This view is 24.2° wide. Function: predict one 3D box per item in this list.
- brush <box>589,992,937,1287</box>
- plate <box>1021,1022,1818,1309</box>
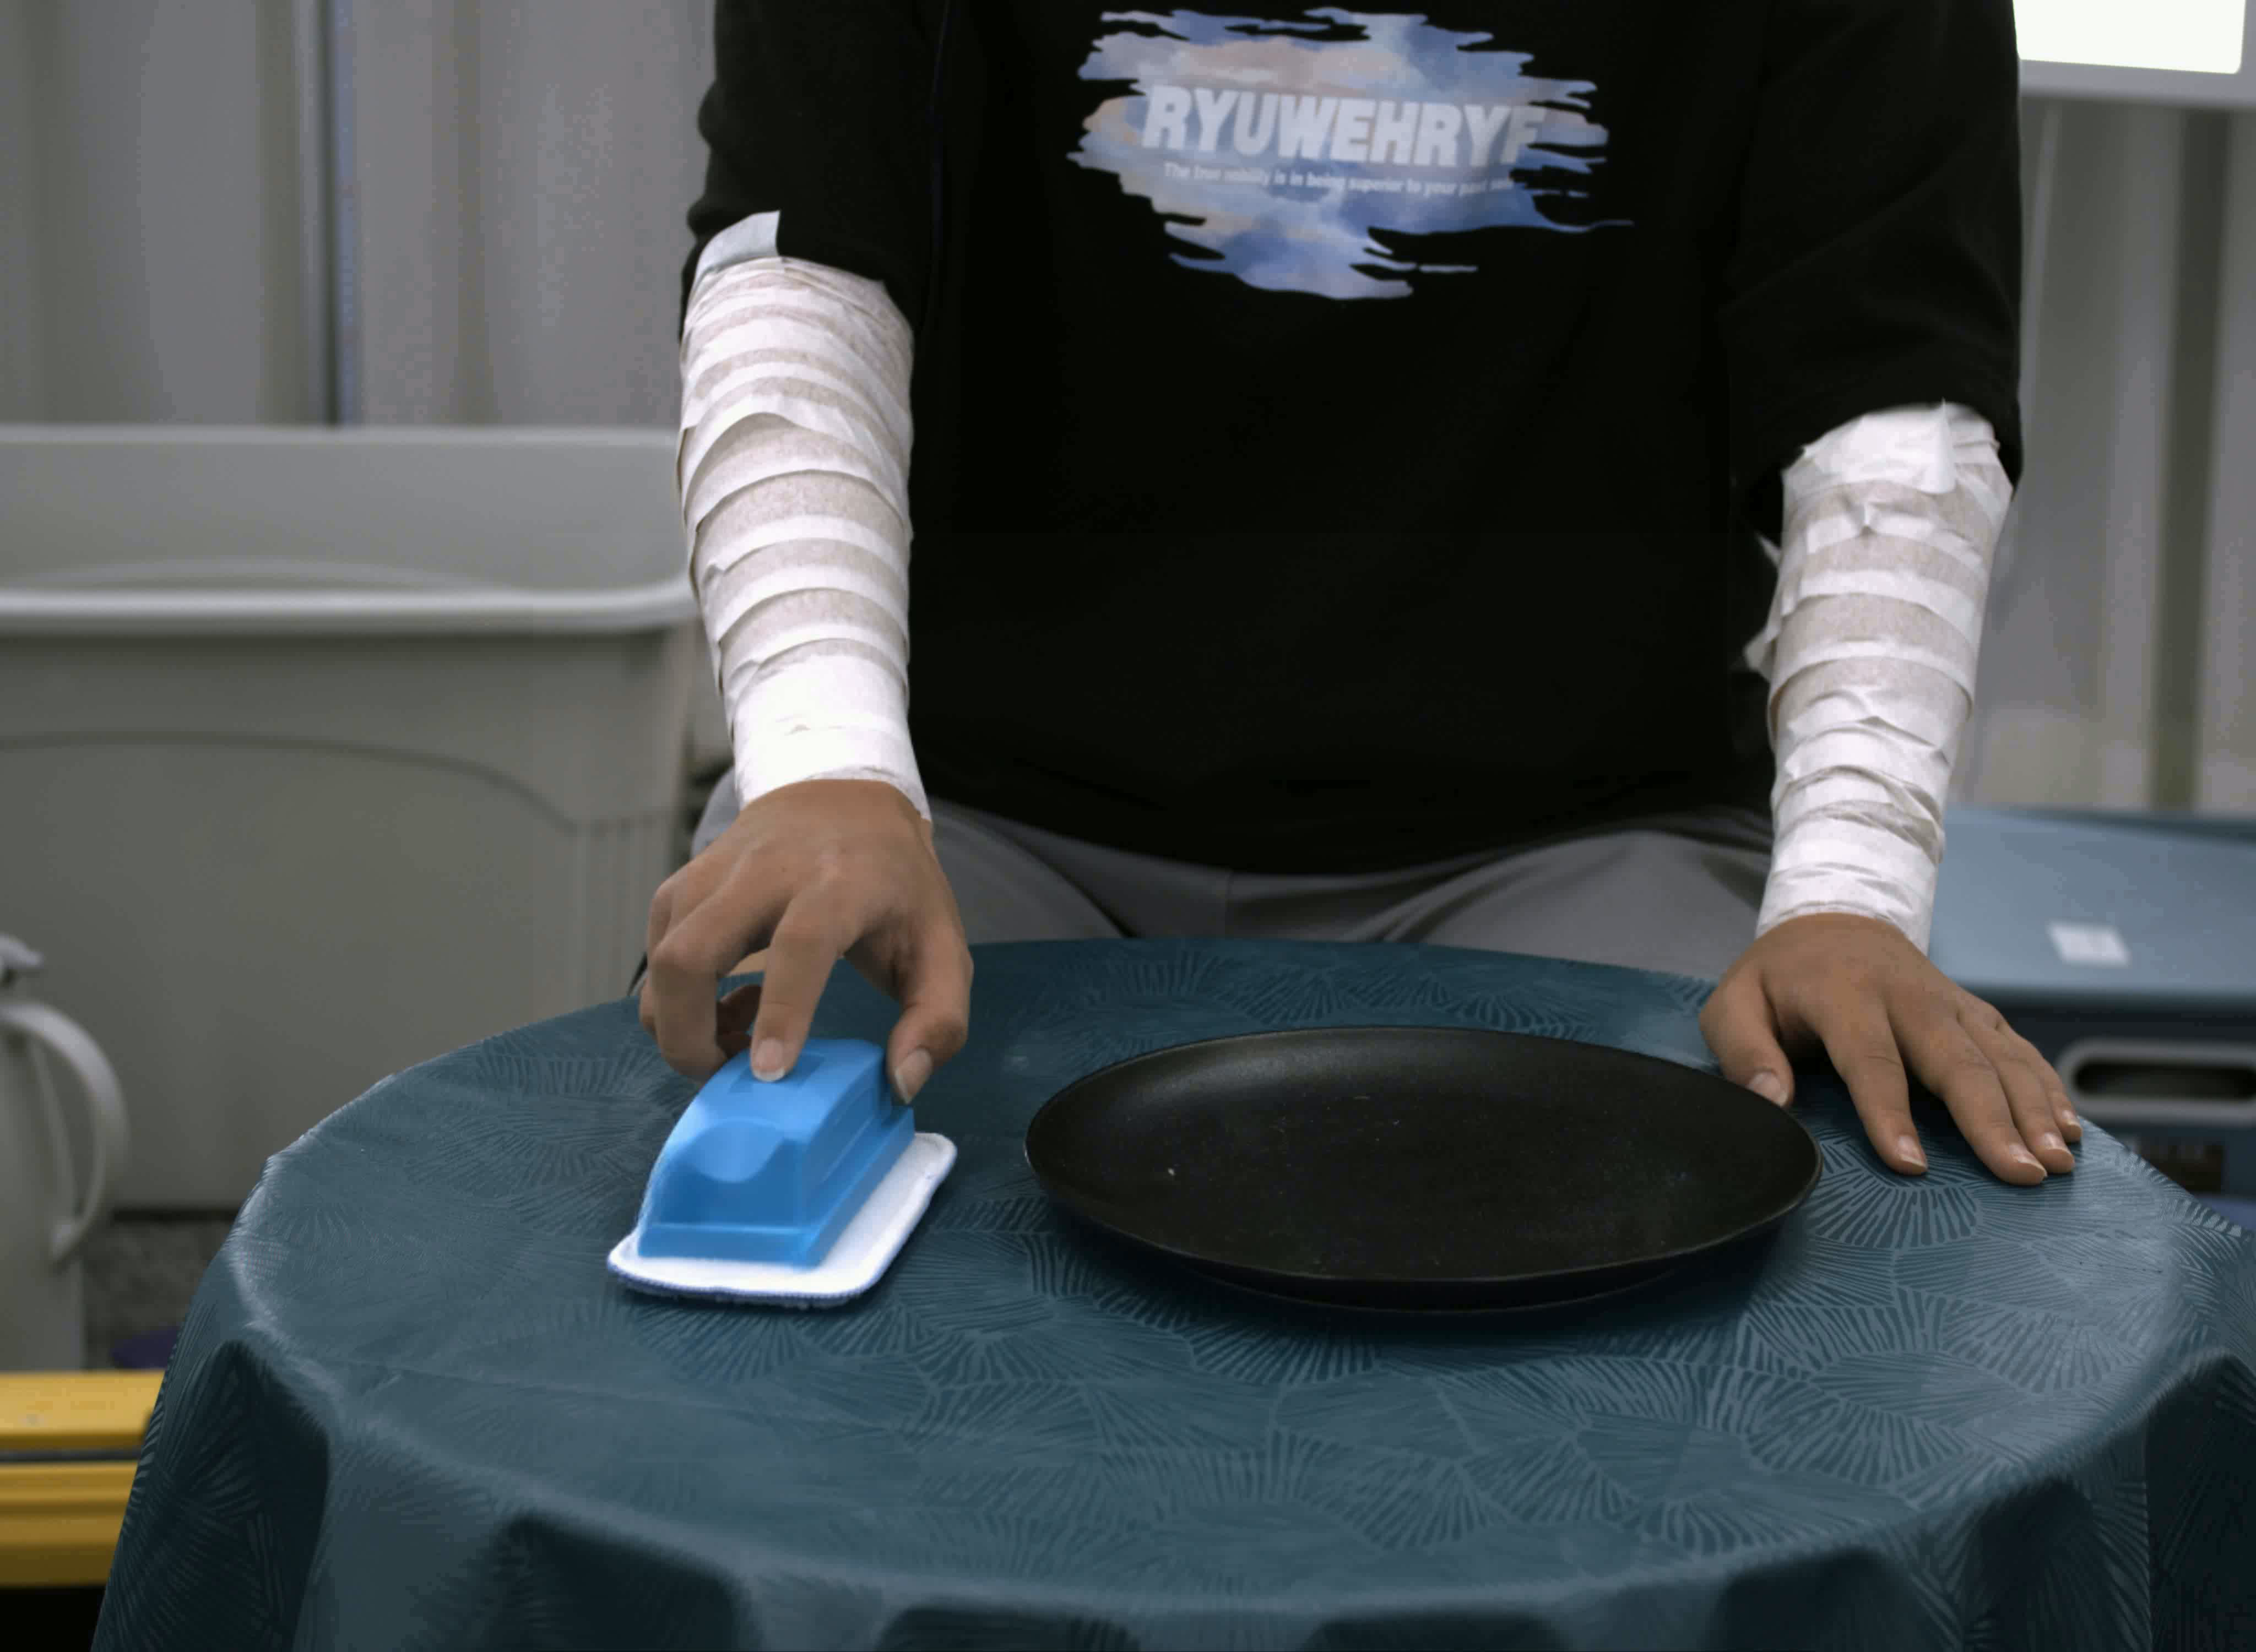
[{"bbox_3d":[-0.107,0.090,1.581,0.083,0.056,0.143,7,19,8],"label":"brush"},{"bbox_3d":[0.088,0.106,1.606,0.243,0.023,0.243,1,15,0],"label":"plate"}]
